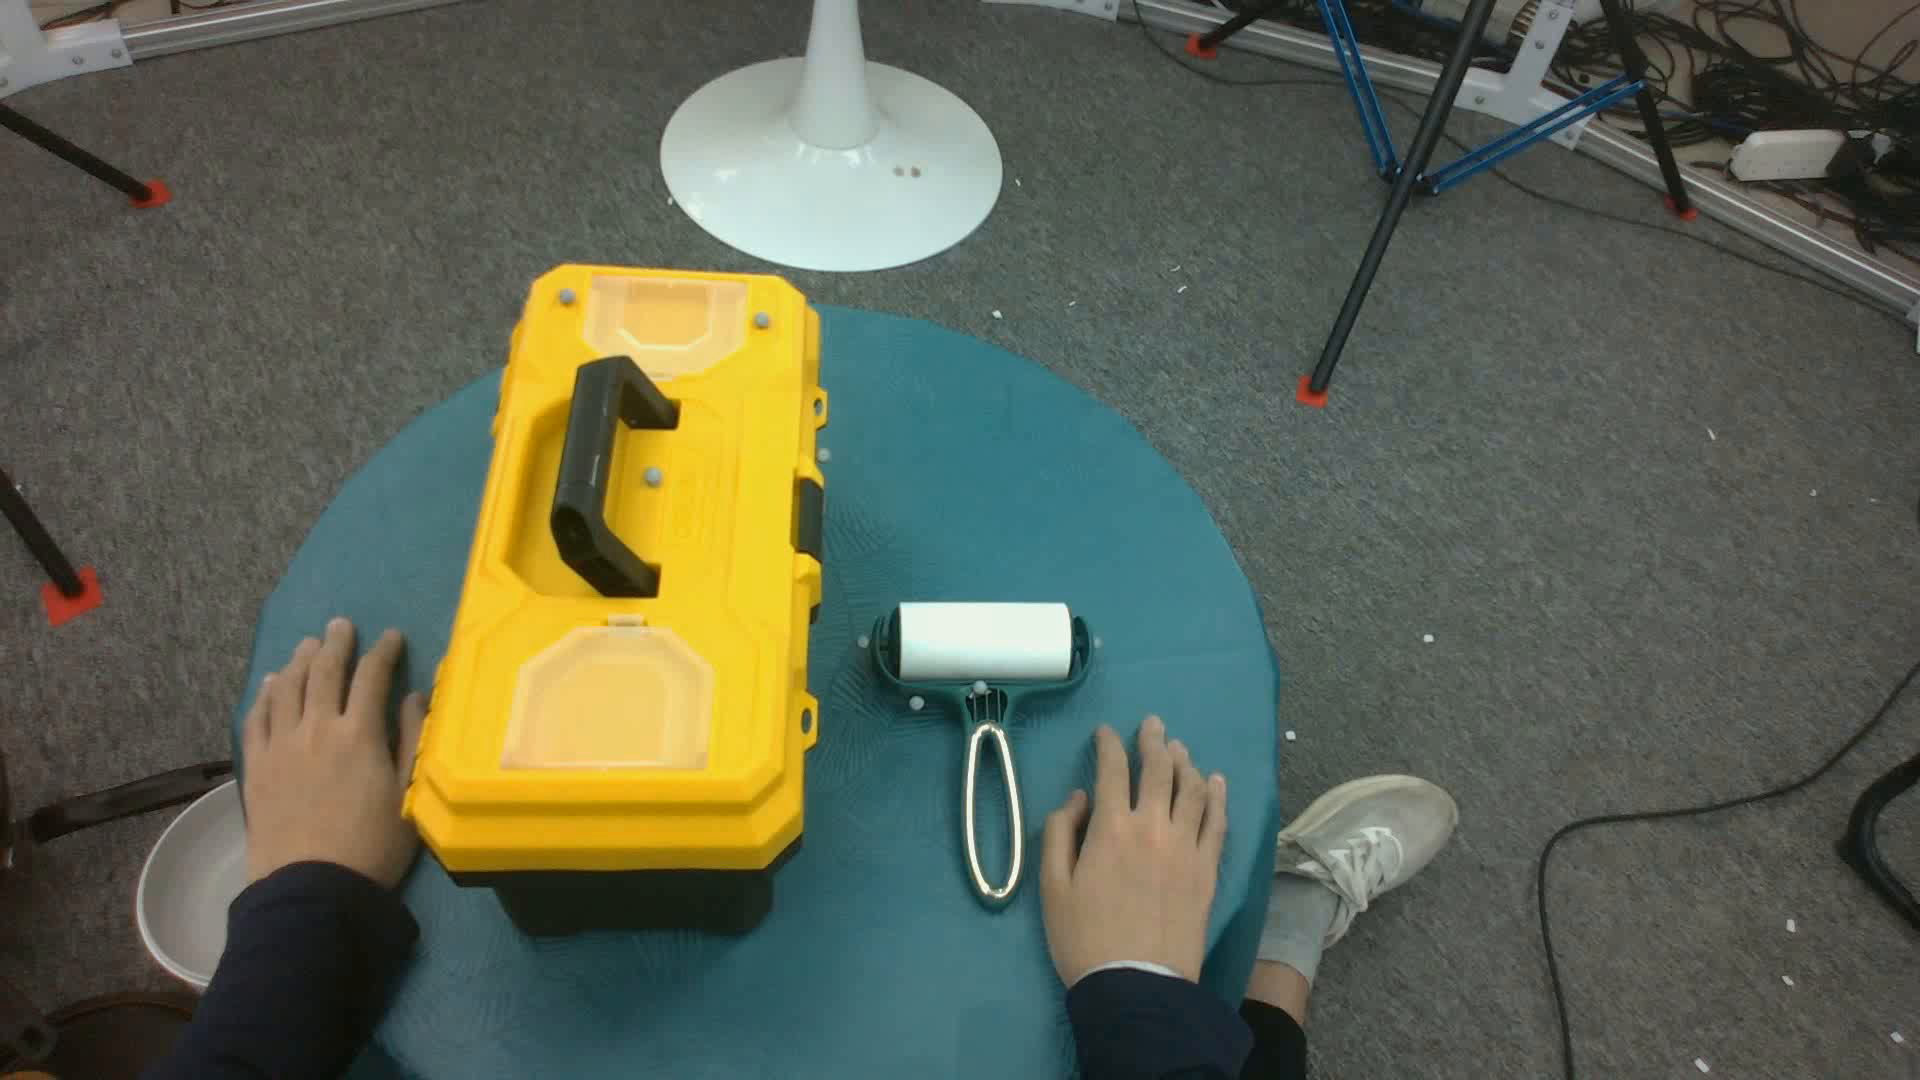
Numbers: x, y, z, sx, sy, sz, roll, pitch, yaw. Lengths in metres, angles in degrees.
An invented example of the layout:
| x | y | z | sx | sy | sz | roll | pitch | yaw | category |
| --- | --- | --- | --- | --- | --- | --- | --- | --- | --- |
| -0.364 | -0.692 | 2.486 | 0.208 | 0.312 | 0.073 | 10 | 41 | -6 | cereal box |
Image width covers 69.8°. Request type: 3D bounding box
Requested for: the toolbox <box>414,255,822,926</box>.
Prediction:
| x | y | z | sx | sy | sz | roll | pitch | yaw | category |
| --- | --- | --- | --- | --- | --- | --- | --- | --- | --- |
| -0.164 | 0.021 | 0.734 | 0.181 | 0.172 | 0.353 | 1 | 53 | -6 | toolbox |

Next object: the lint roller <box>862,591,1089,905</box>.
| x | y | z | sx | sy | sz | roll | pitch | yaw | category |
| --- | --- | --- | --- | --- | --- | --- | --- | --- | --- |
| 0.013 | 0.110 | 0.774 | 0.134 | 0.048 | 0.181 | 1 | 56 | -8 | lint roller |
